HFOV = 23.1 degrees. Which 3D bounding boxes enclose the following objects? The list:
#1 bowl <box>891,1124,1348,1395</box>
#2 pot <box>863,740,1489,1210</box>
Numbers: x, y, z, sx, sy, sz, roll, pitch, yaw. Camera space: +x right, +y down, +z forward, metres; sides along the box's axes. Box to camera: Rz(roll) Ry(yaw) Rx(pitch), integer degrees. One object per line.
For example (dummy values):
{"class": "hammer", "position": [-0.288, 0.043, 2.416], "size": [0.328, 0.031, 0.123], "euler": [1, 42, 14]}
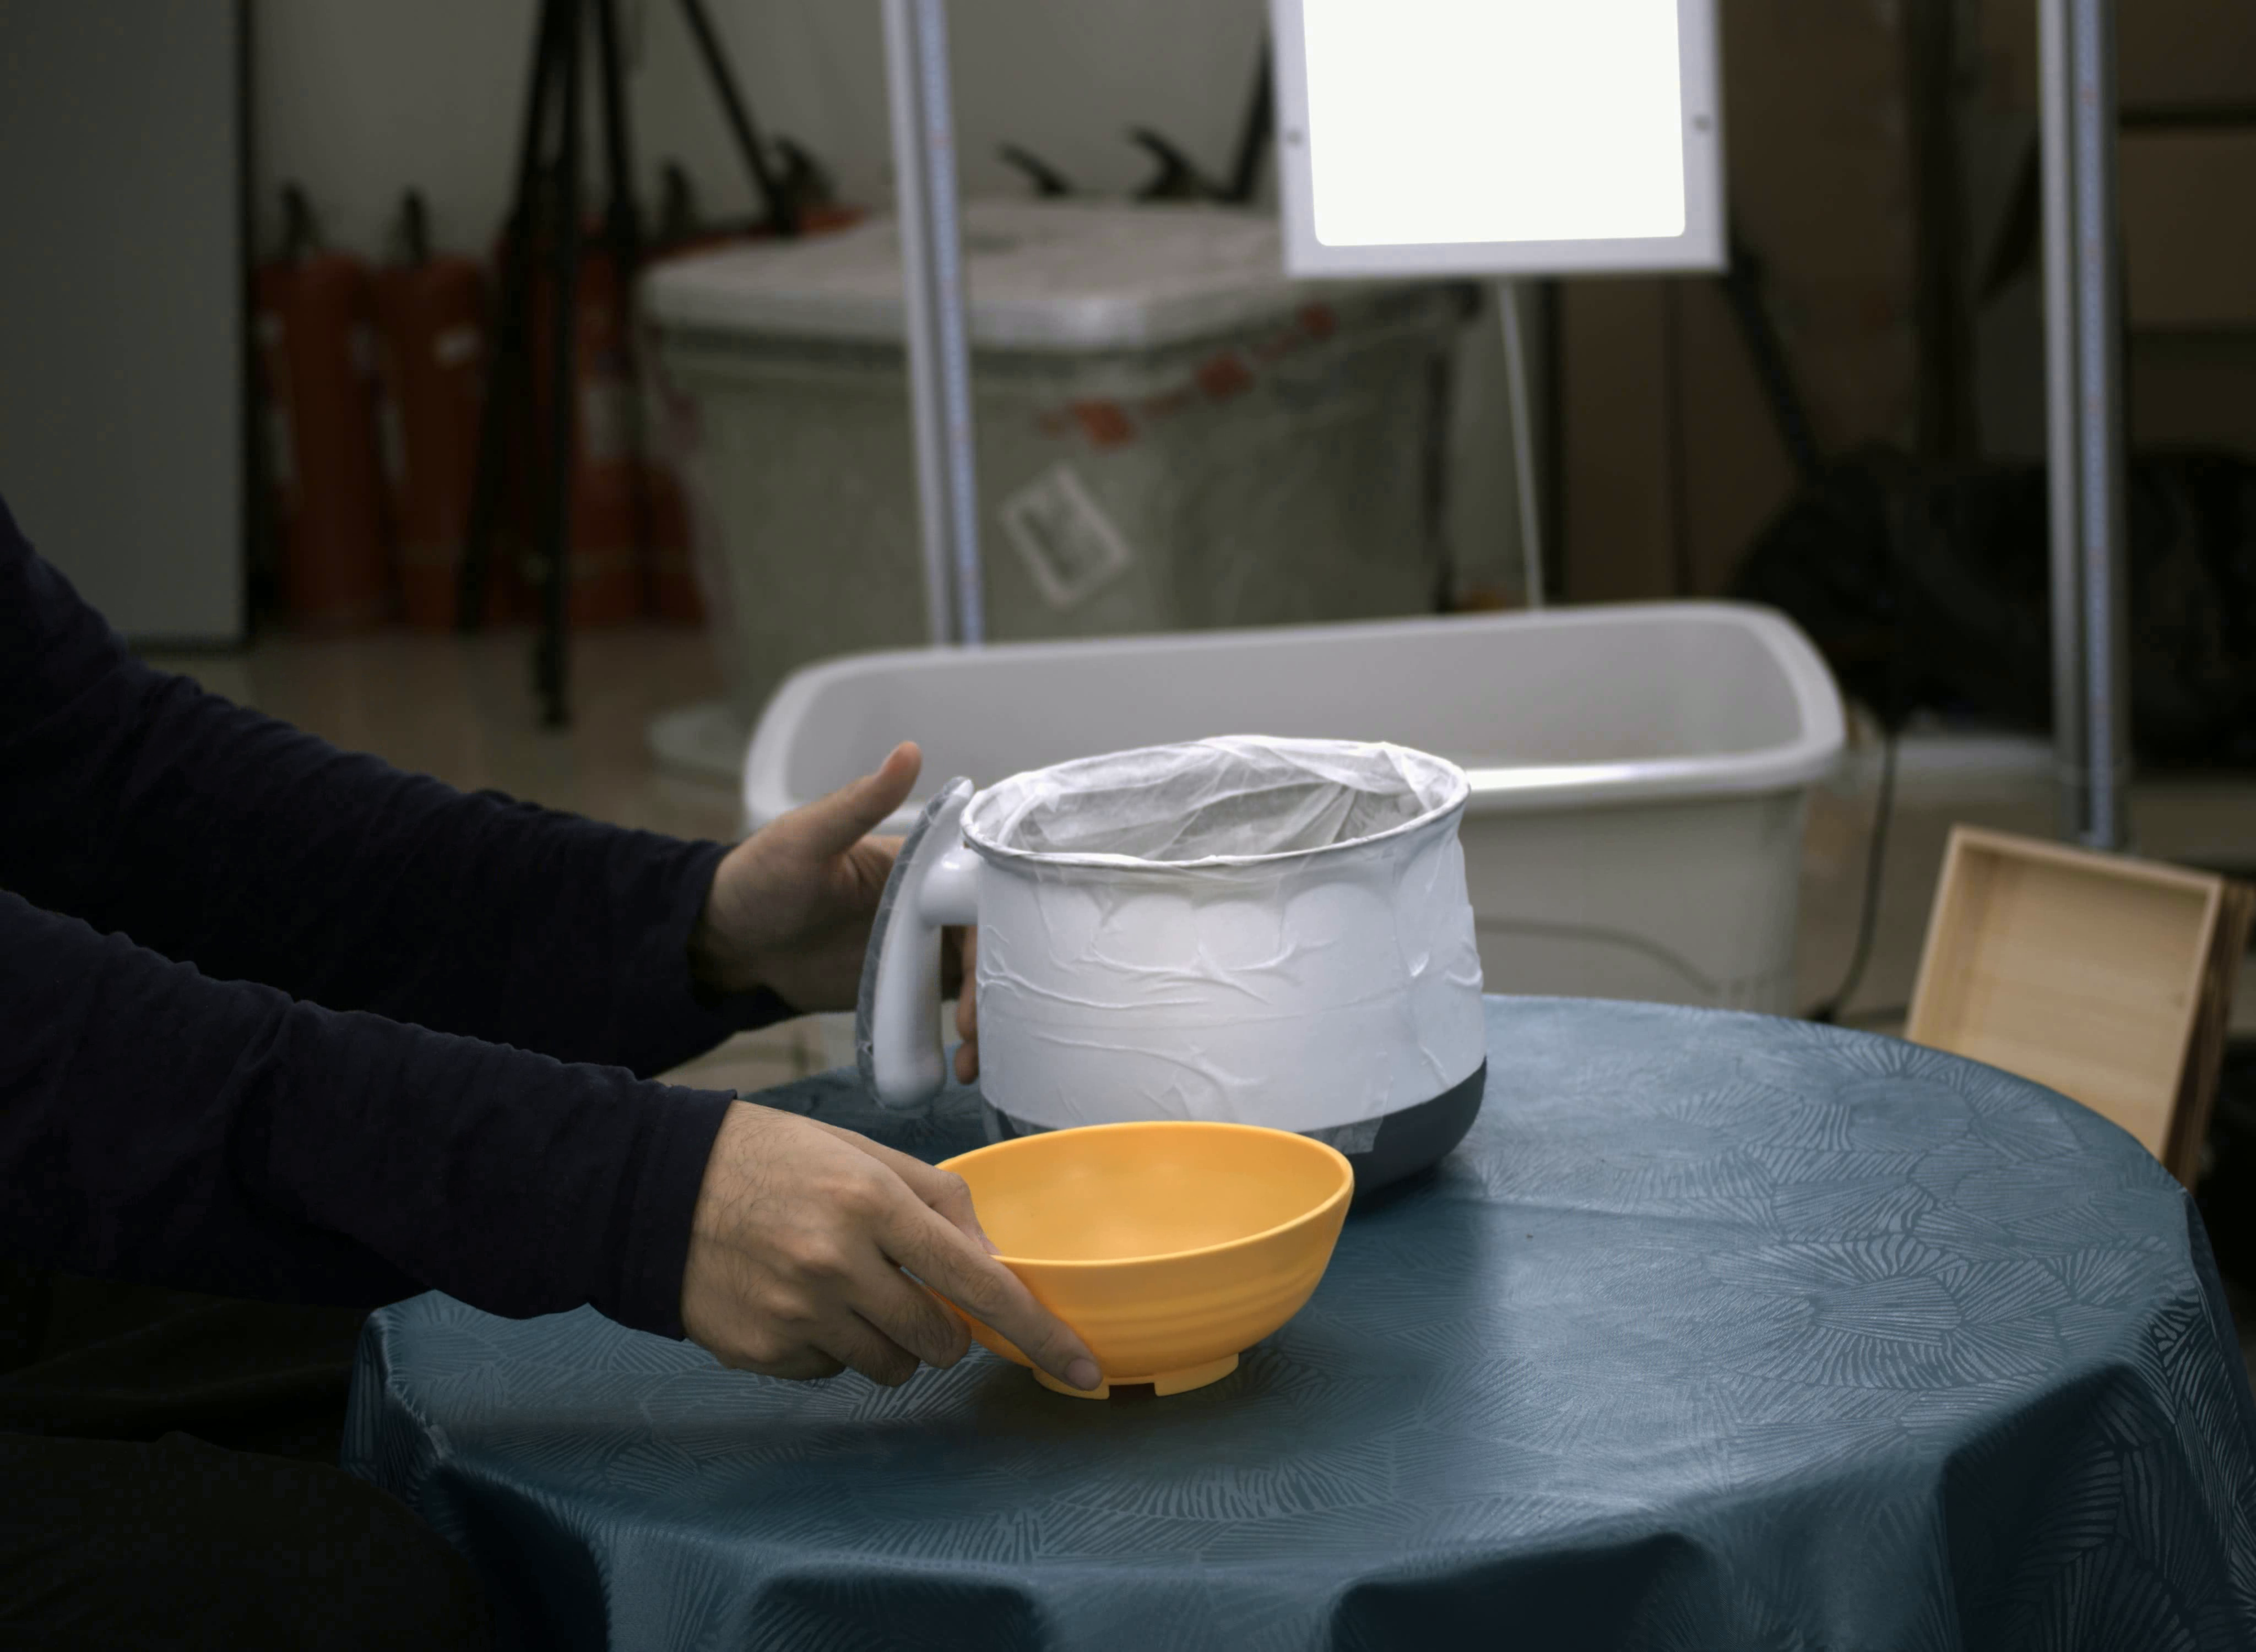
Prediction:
{"class": "bowl", "position": [-0.001, 0.139, 1.719], "size": [0.145, 0.060, 0.145], "euler": [-3, 13, -1]}
{"class": "pot", "position": [0.010, 0.053, 1.922], "size": [0.238, 0.137, 0.175], "euler": [0, 15, 27]}
